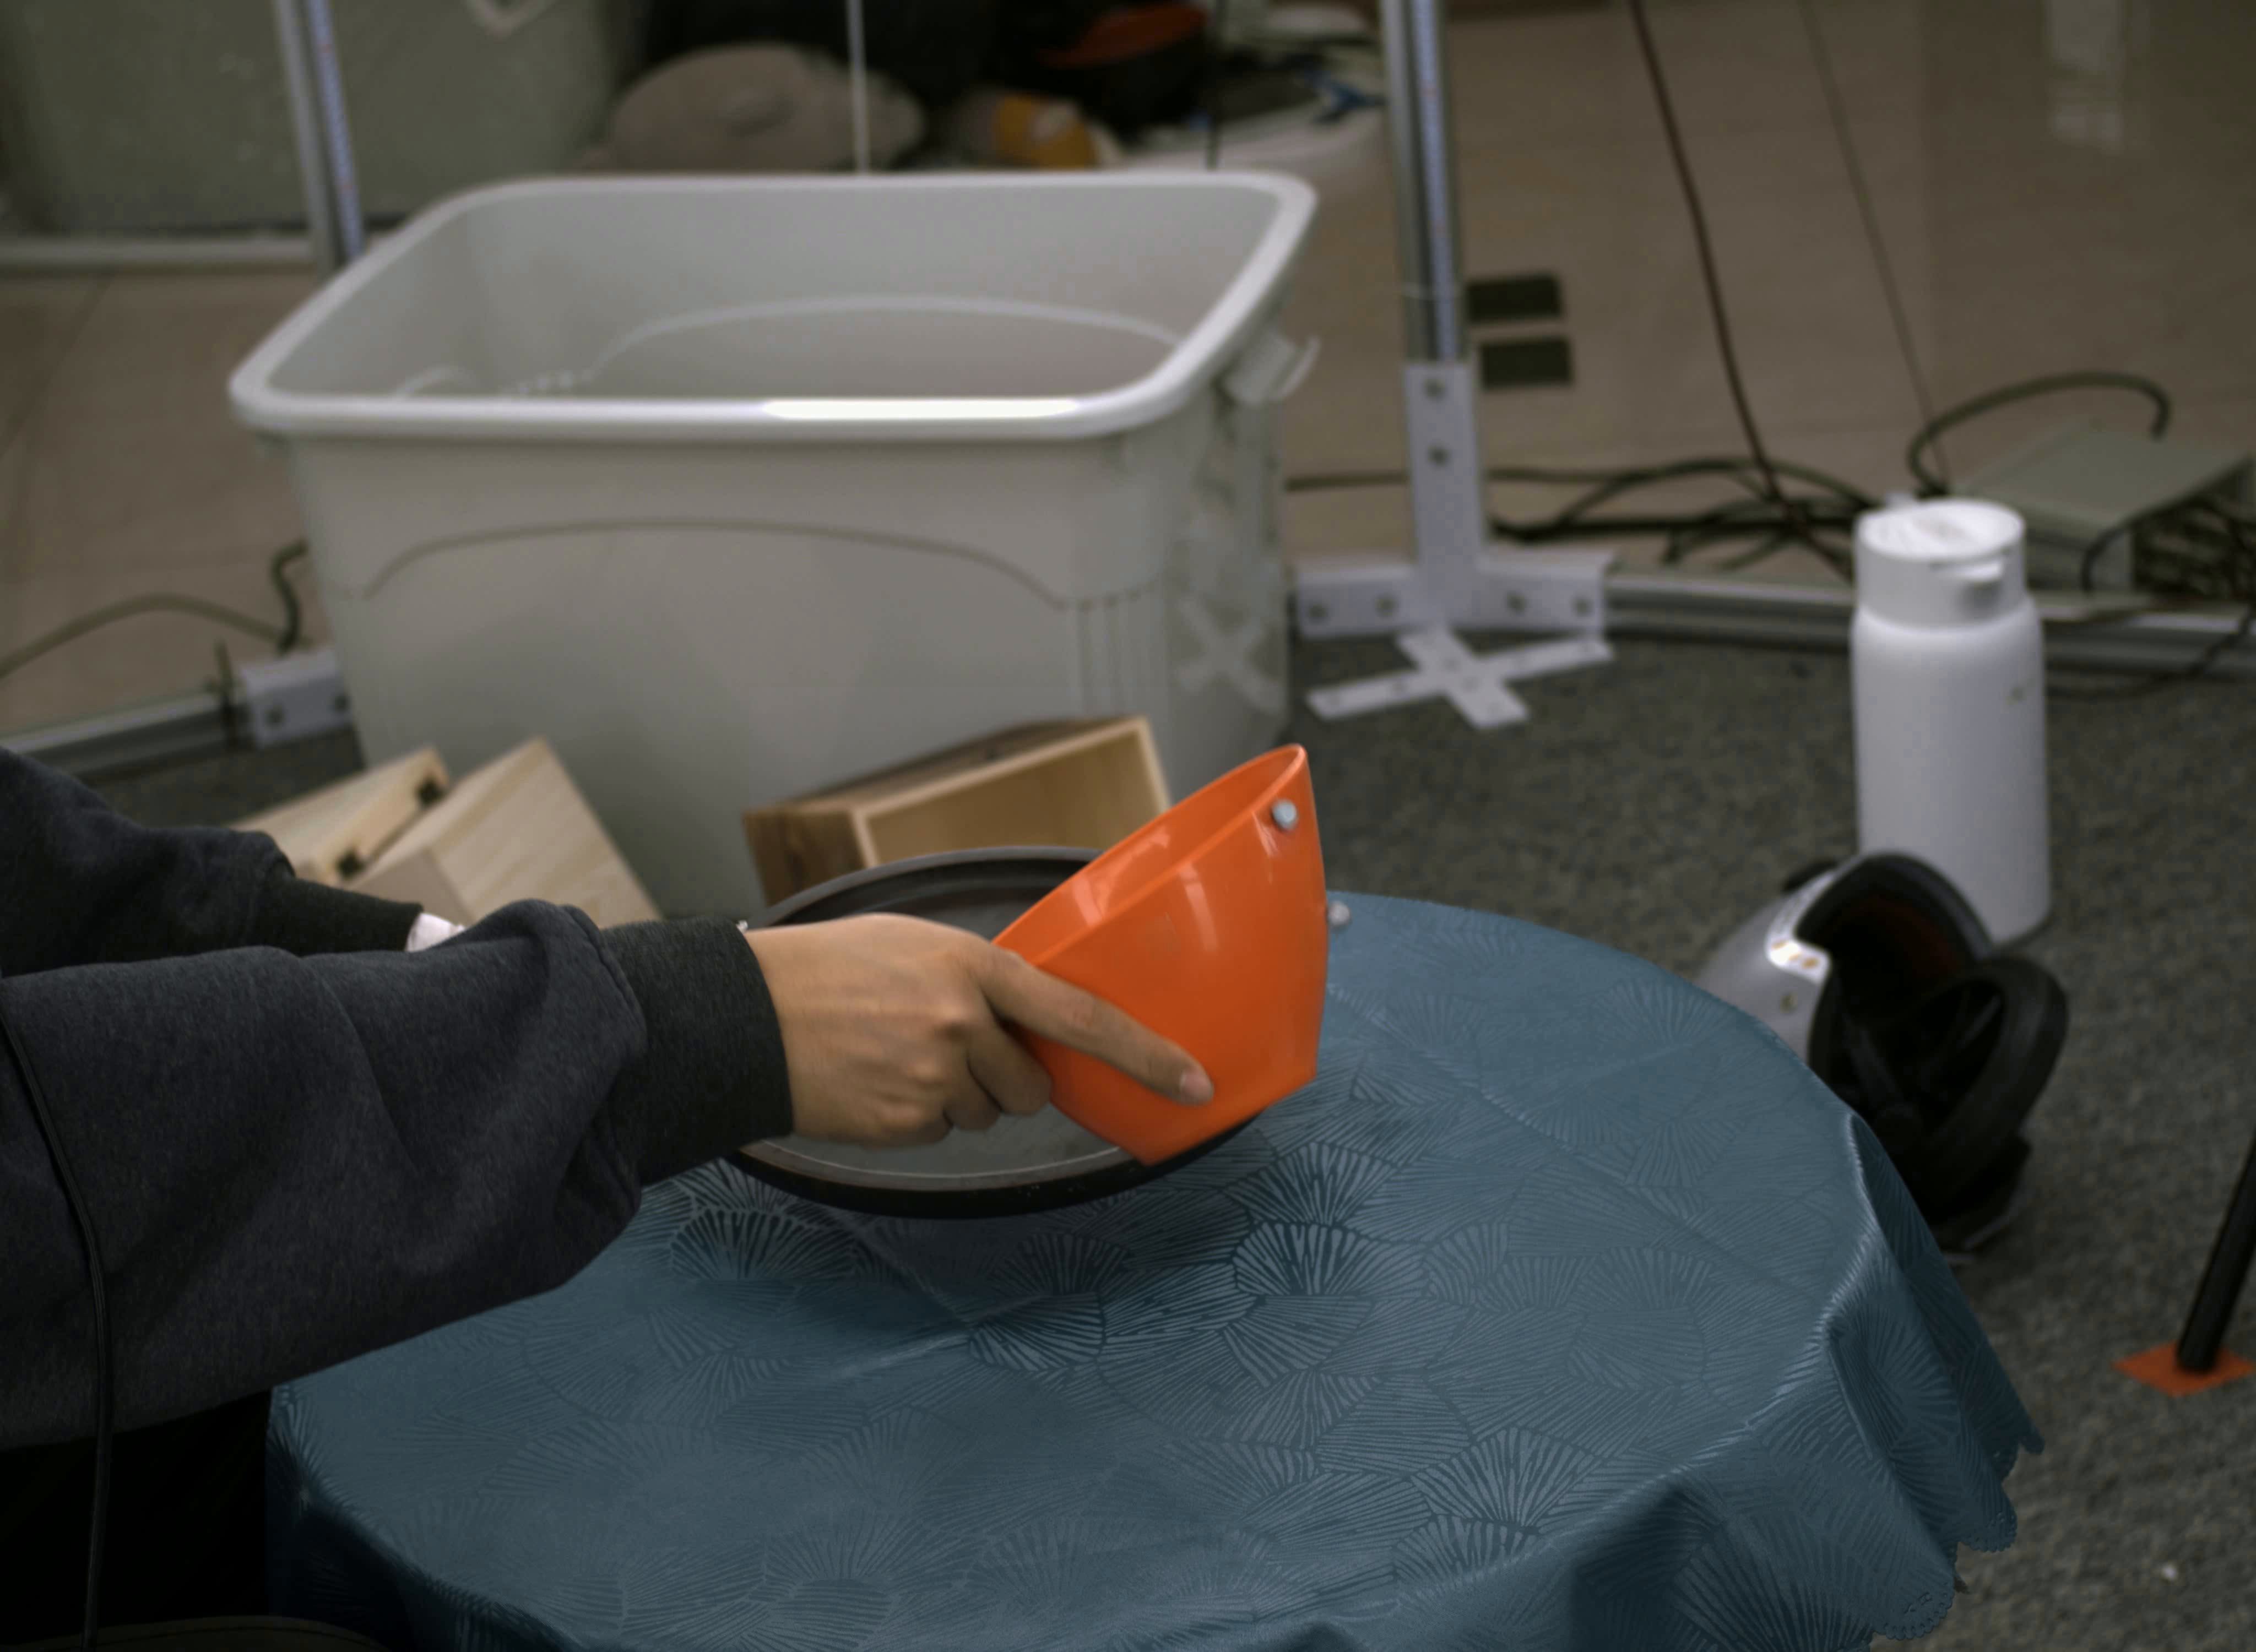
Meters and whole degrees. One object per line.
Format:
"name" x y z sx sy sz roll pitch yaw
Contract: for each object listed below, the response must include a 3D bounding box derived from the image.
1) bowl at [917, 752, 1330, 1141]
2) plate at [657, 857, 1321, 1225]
"bowl" 0.007 0.045 1.935 0.148 0.105 0.147 -13 11 3
"plate" -0.053 0.080 2.166 0.254 0.029 0.250 -3 31 2
